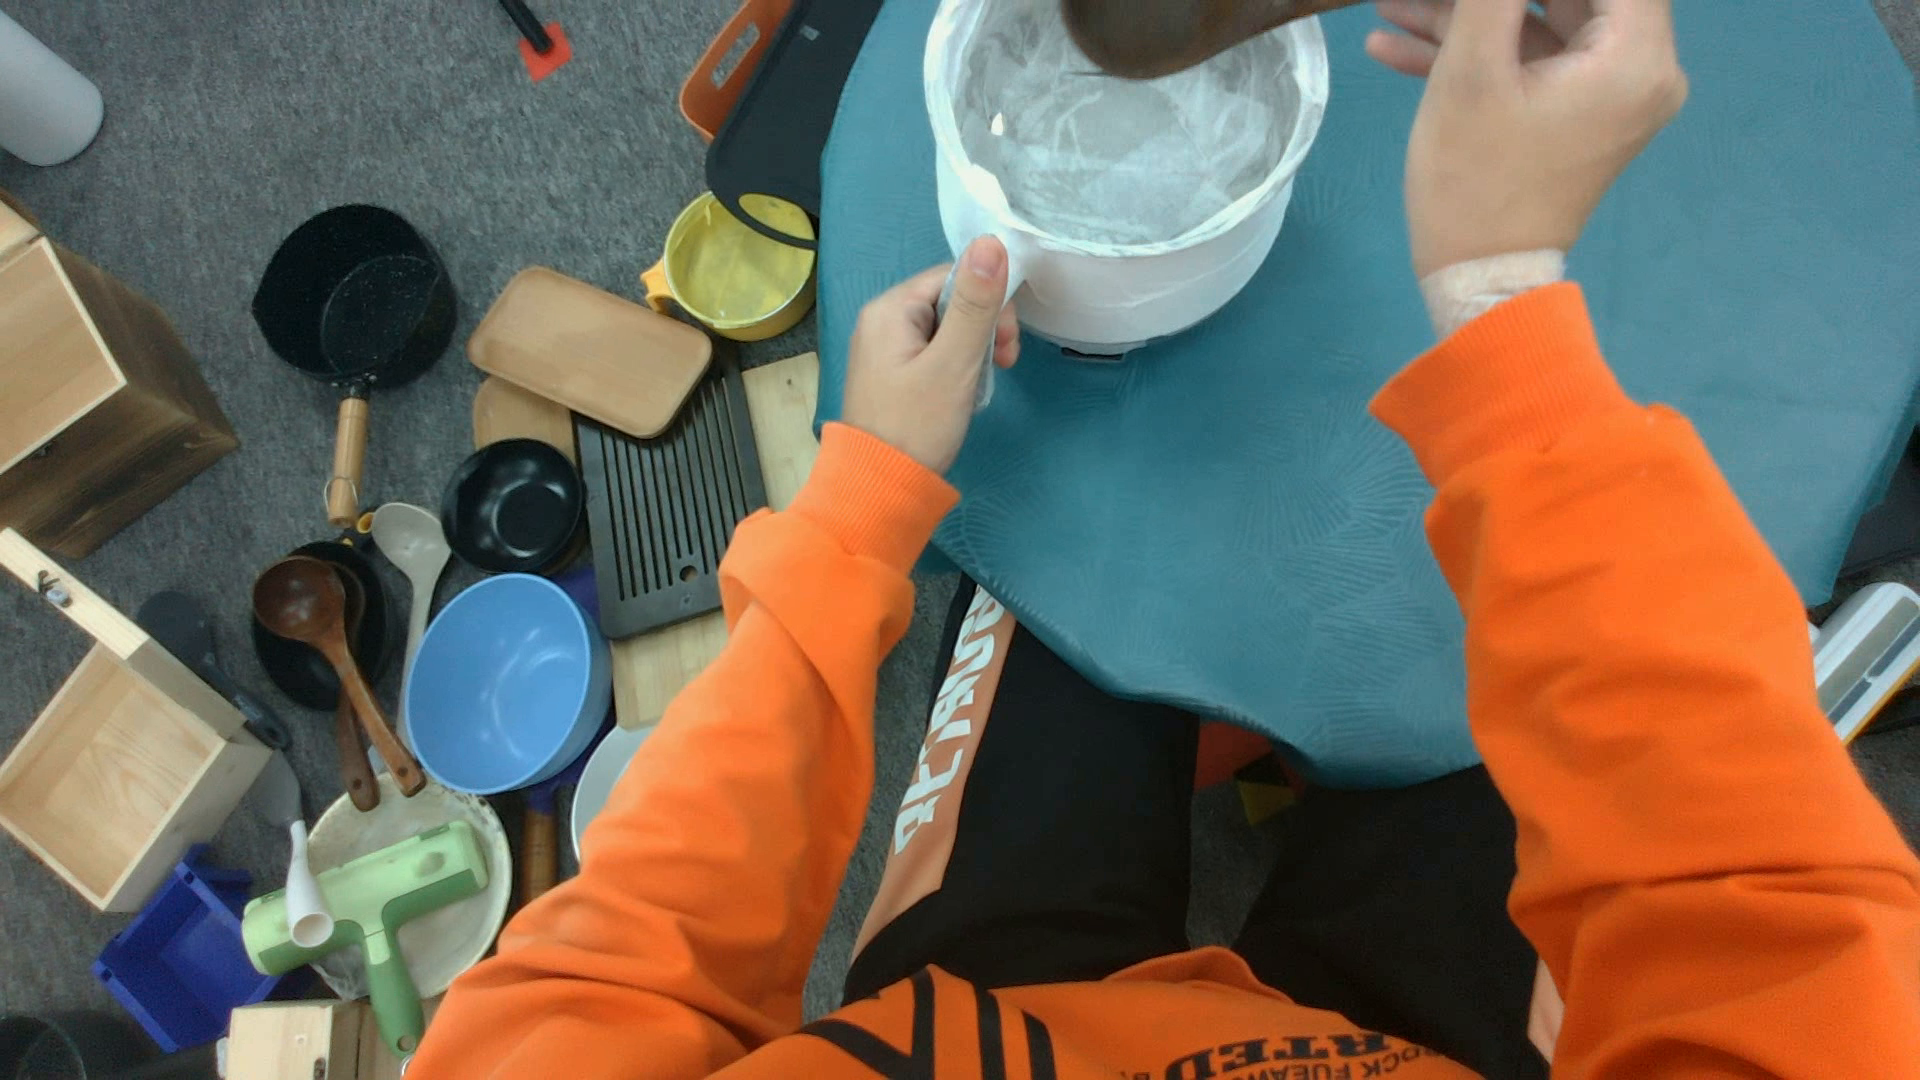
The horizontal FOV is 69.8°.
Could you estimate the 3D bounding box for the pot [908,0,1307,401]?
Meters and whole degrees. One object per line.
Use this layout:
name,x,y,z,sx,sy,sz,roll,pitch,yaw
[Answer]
pot,0.052,-0.176,0.666,0.179,0.136,0.234,33,80,10

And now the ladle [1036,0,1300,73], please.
ladle,0.141,-0.215,0.495,0.274,0.071,0.076,15,99,47
